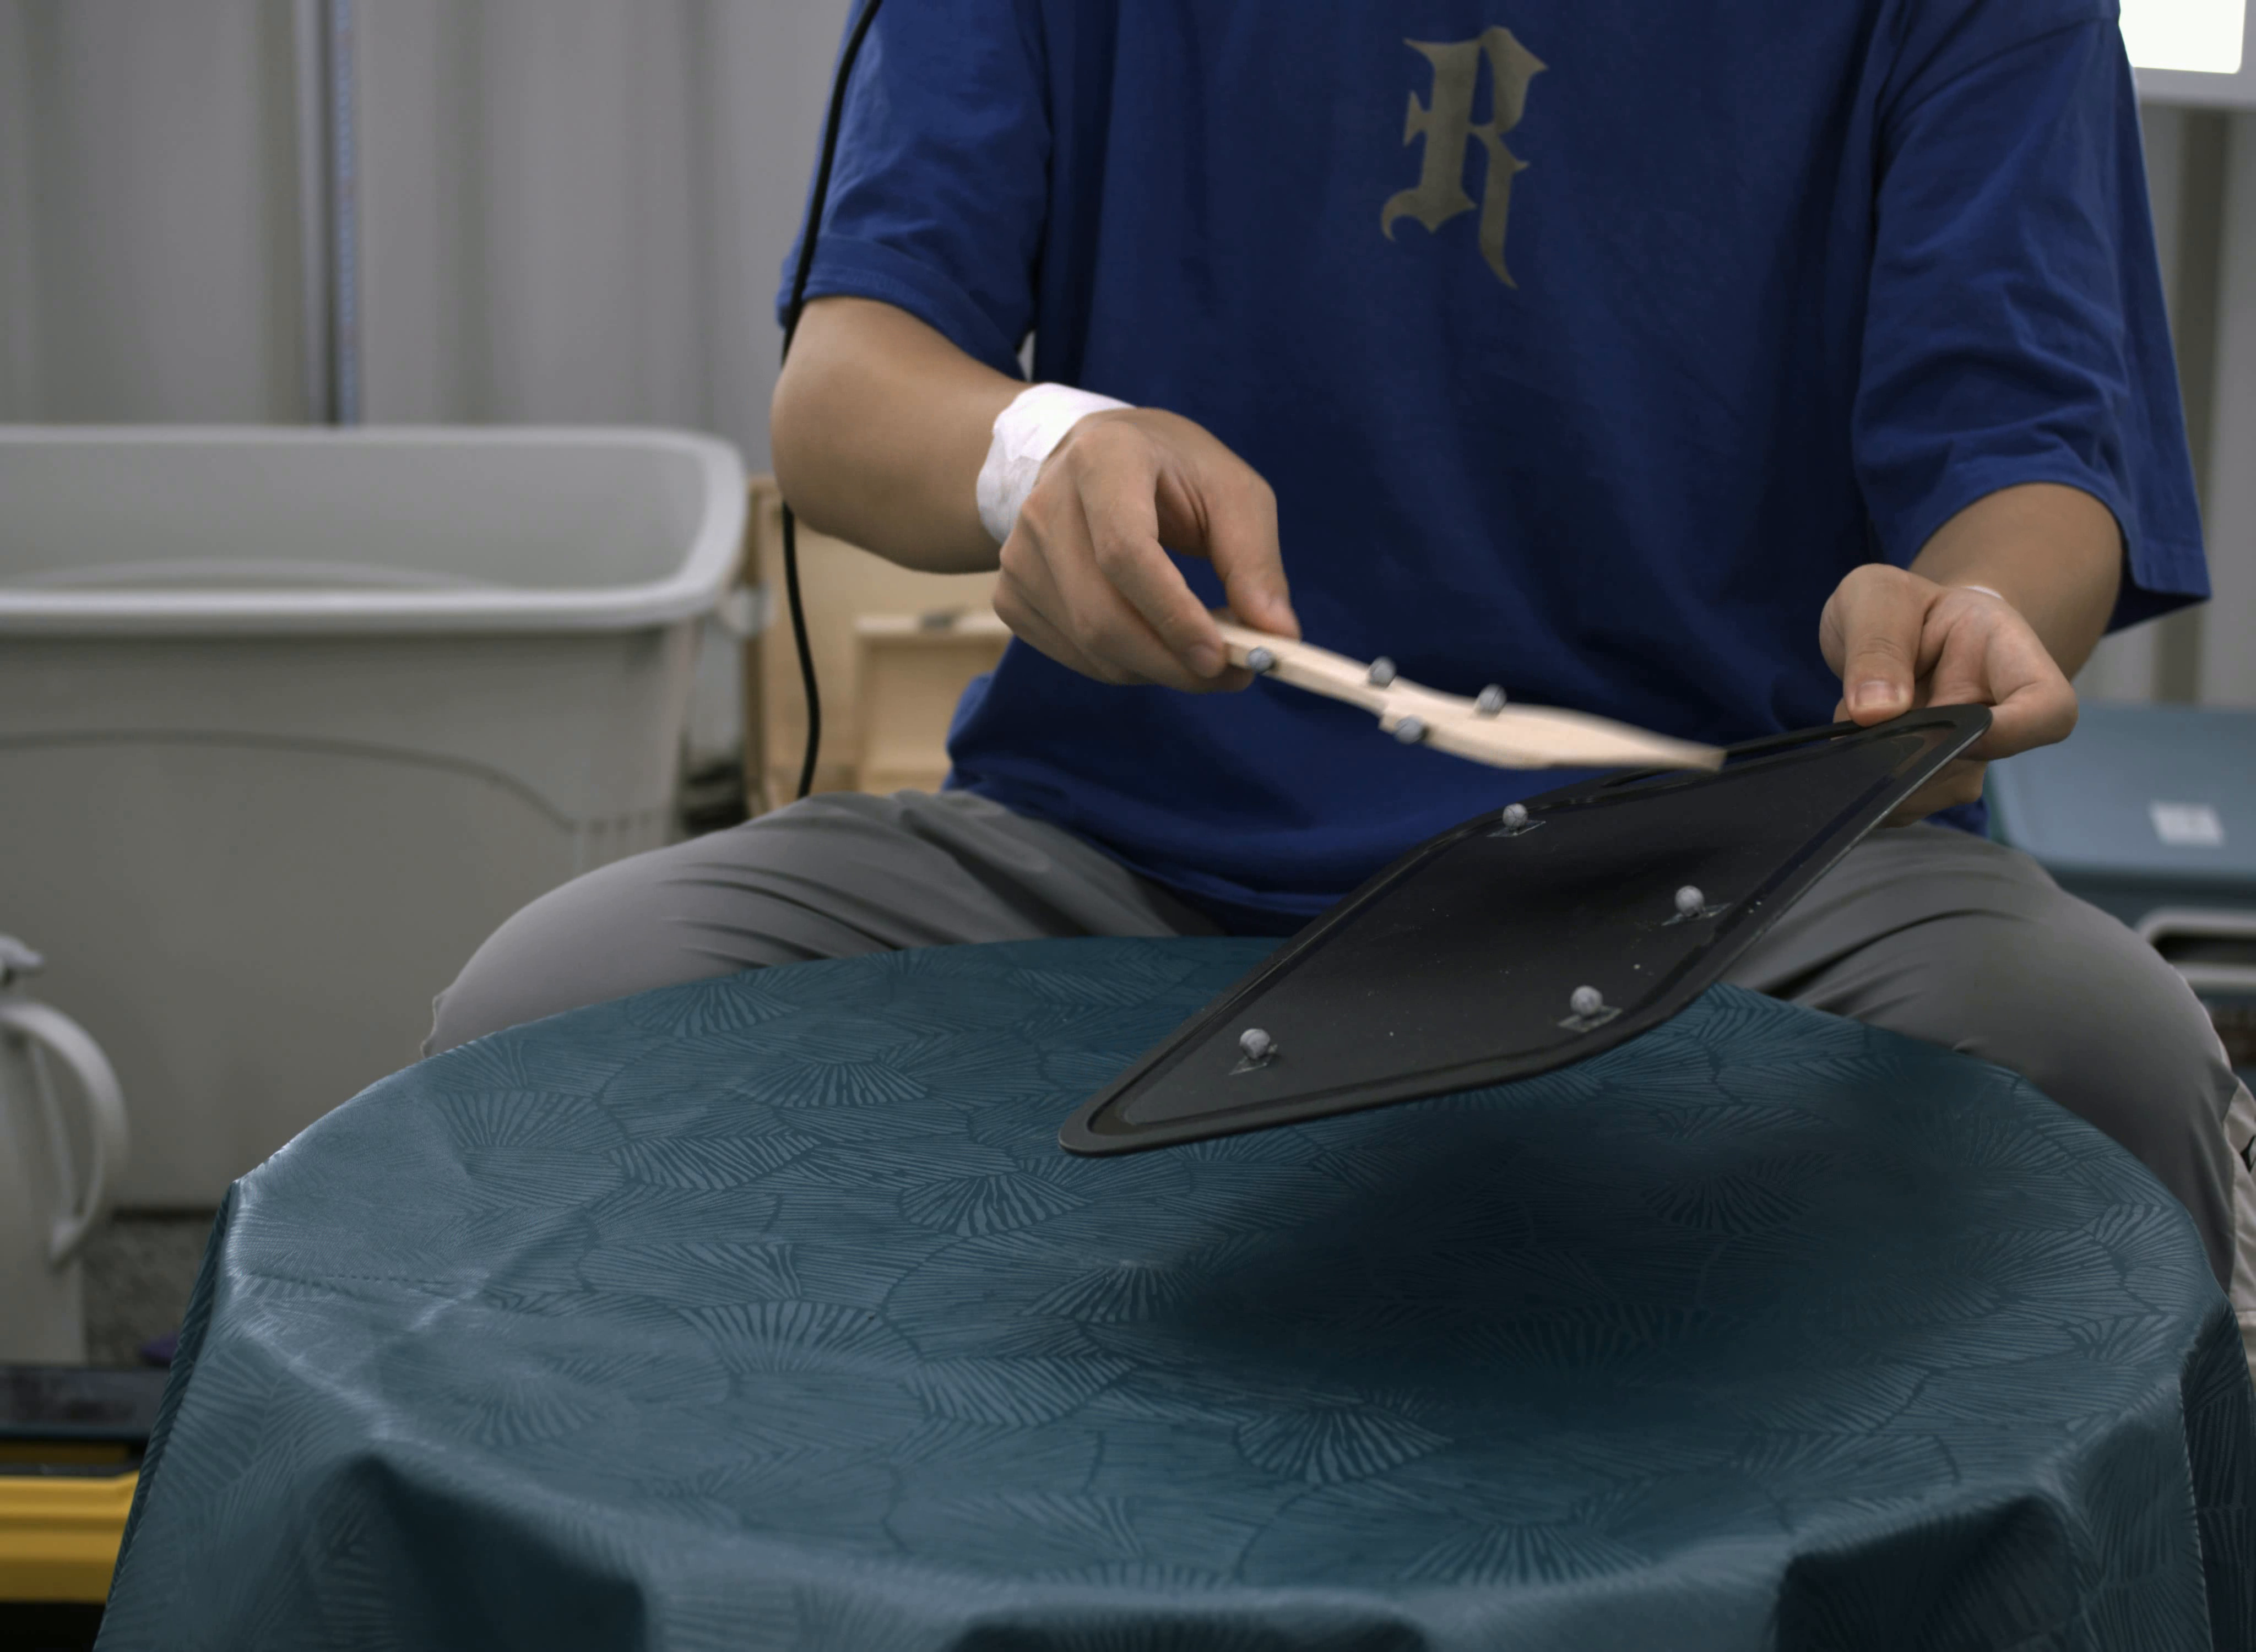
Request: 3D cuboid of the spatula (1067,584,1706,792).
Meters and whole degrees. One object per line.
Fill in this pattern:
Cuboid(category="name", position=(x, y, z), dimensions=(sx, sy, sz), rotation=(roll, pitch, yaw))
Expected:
Cuboid(category="spatula", position=(0.065, -0.045, 1.653), dimensions=(0.073, 0.011, 0.289), rotation=(4, 12, -35))

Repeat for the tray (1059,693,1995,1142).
Cuboid(category="tray", position=(0.125, 0.021, 1.563), dimensions=(0.209, 0.010, 0.326), rotation=(-13, 13, 35))
